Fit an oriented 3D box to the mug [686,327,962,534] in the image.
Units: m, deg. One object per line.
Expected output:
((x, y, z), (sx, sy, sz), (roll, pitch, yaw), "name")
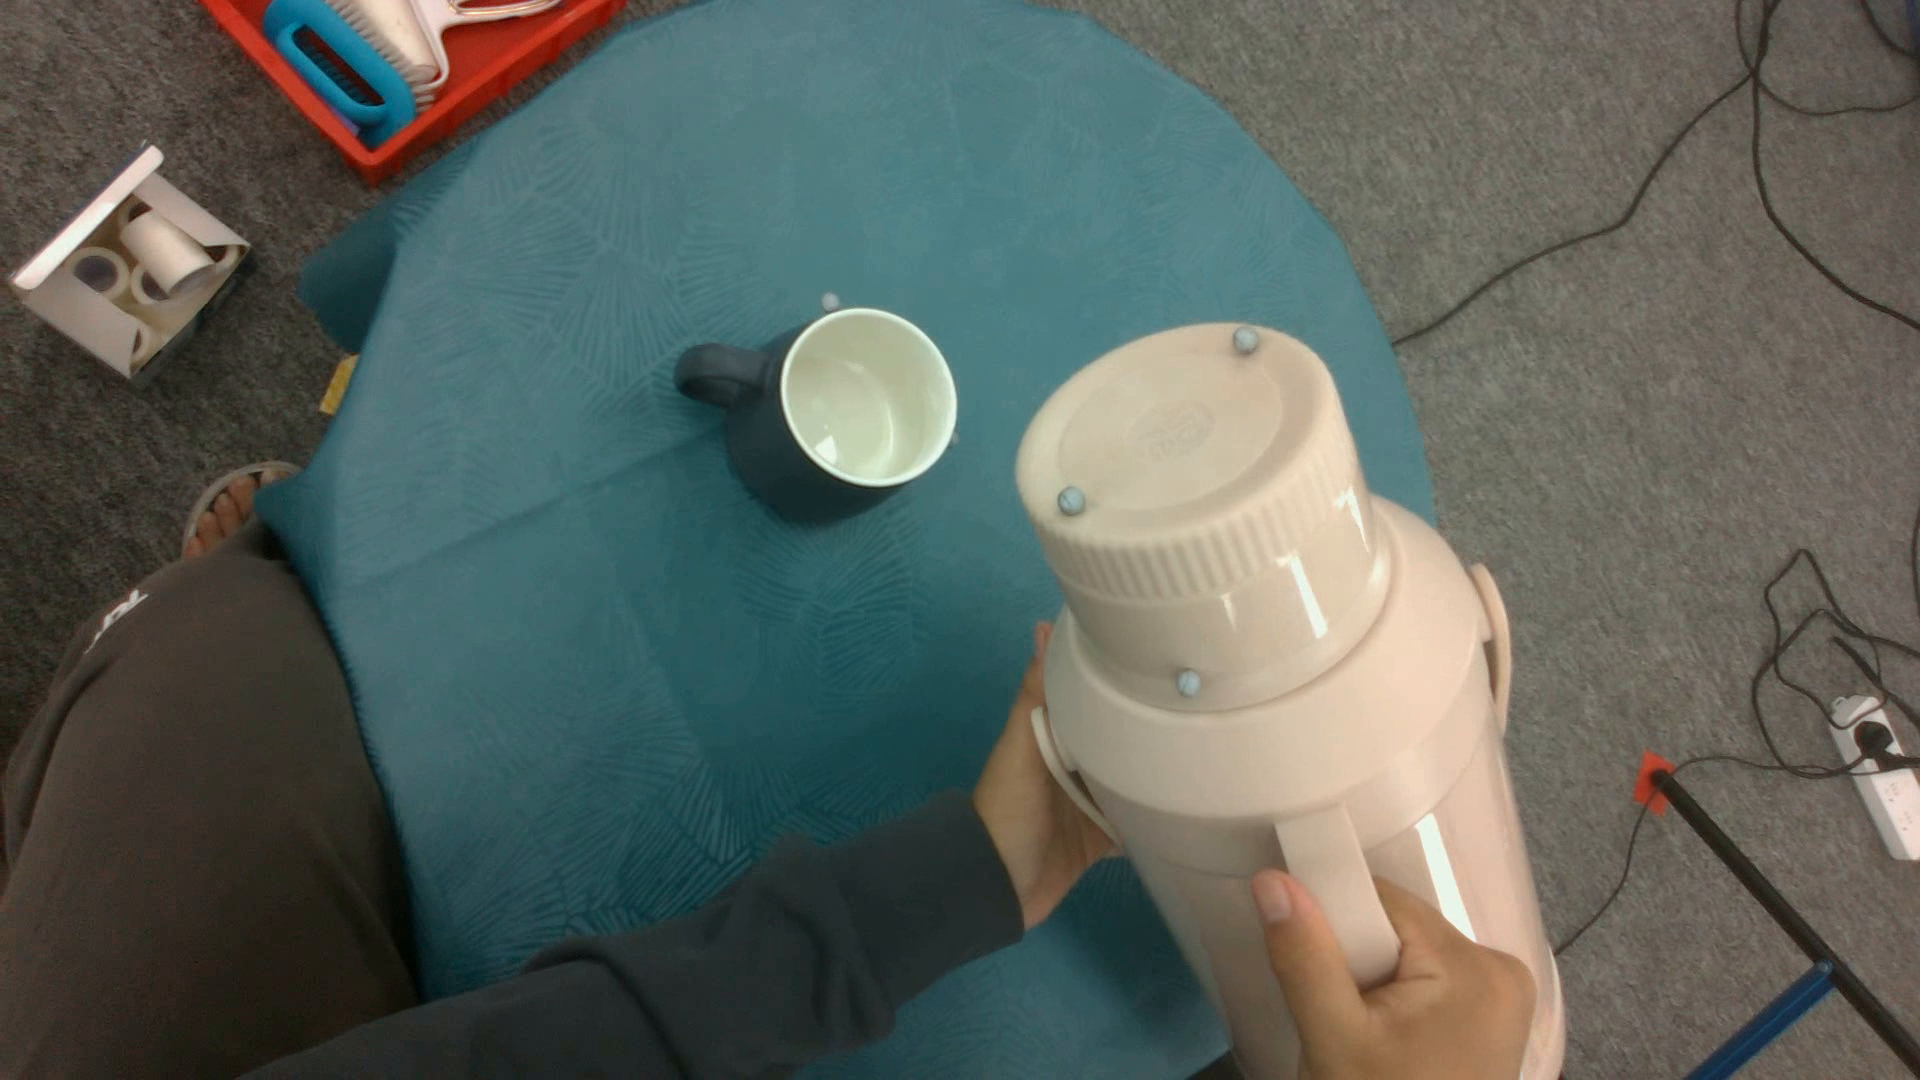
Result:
((-0.066, -0.056, 0.644), (0.123, 0.089, 0.093), (16, 78, -20), "mug")

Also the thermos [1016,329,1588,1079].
((0.149, 0.108, 0.562), (0.175, 0.208, 0.405), (-22, 129, 11), "thermos")
